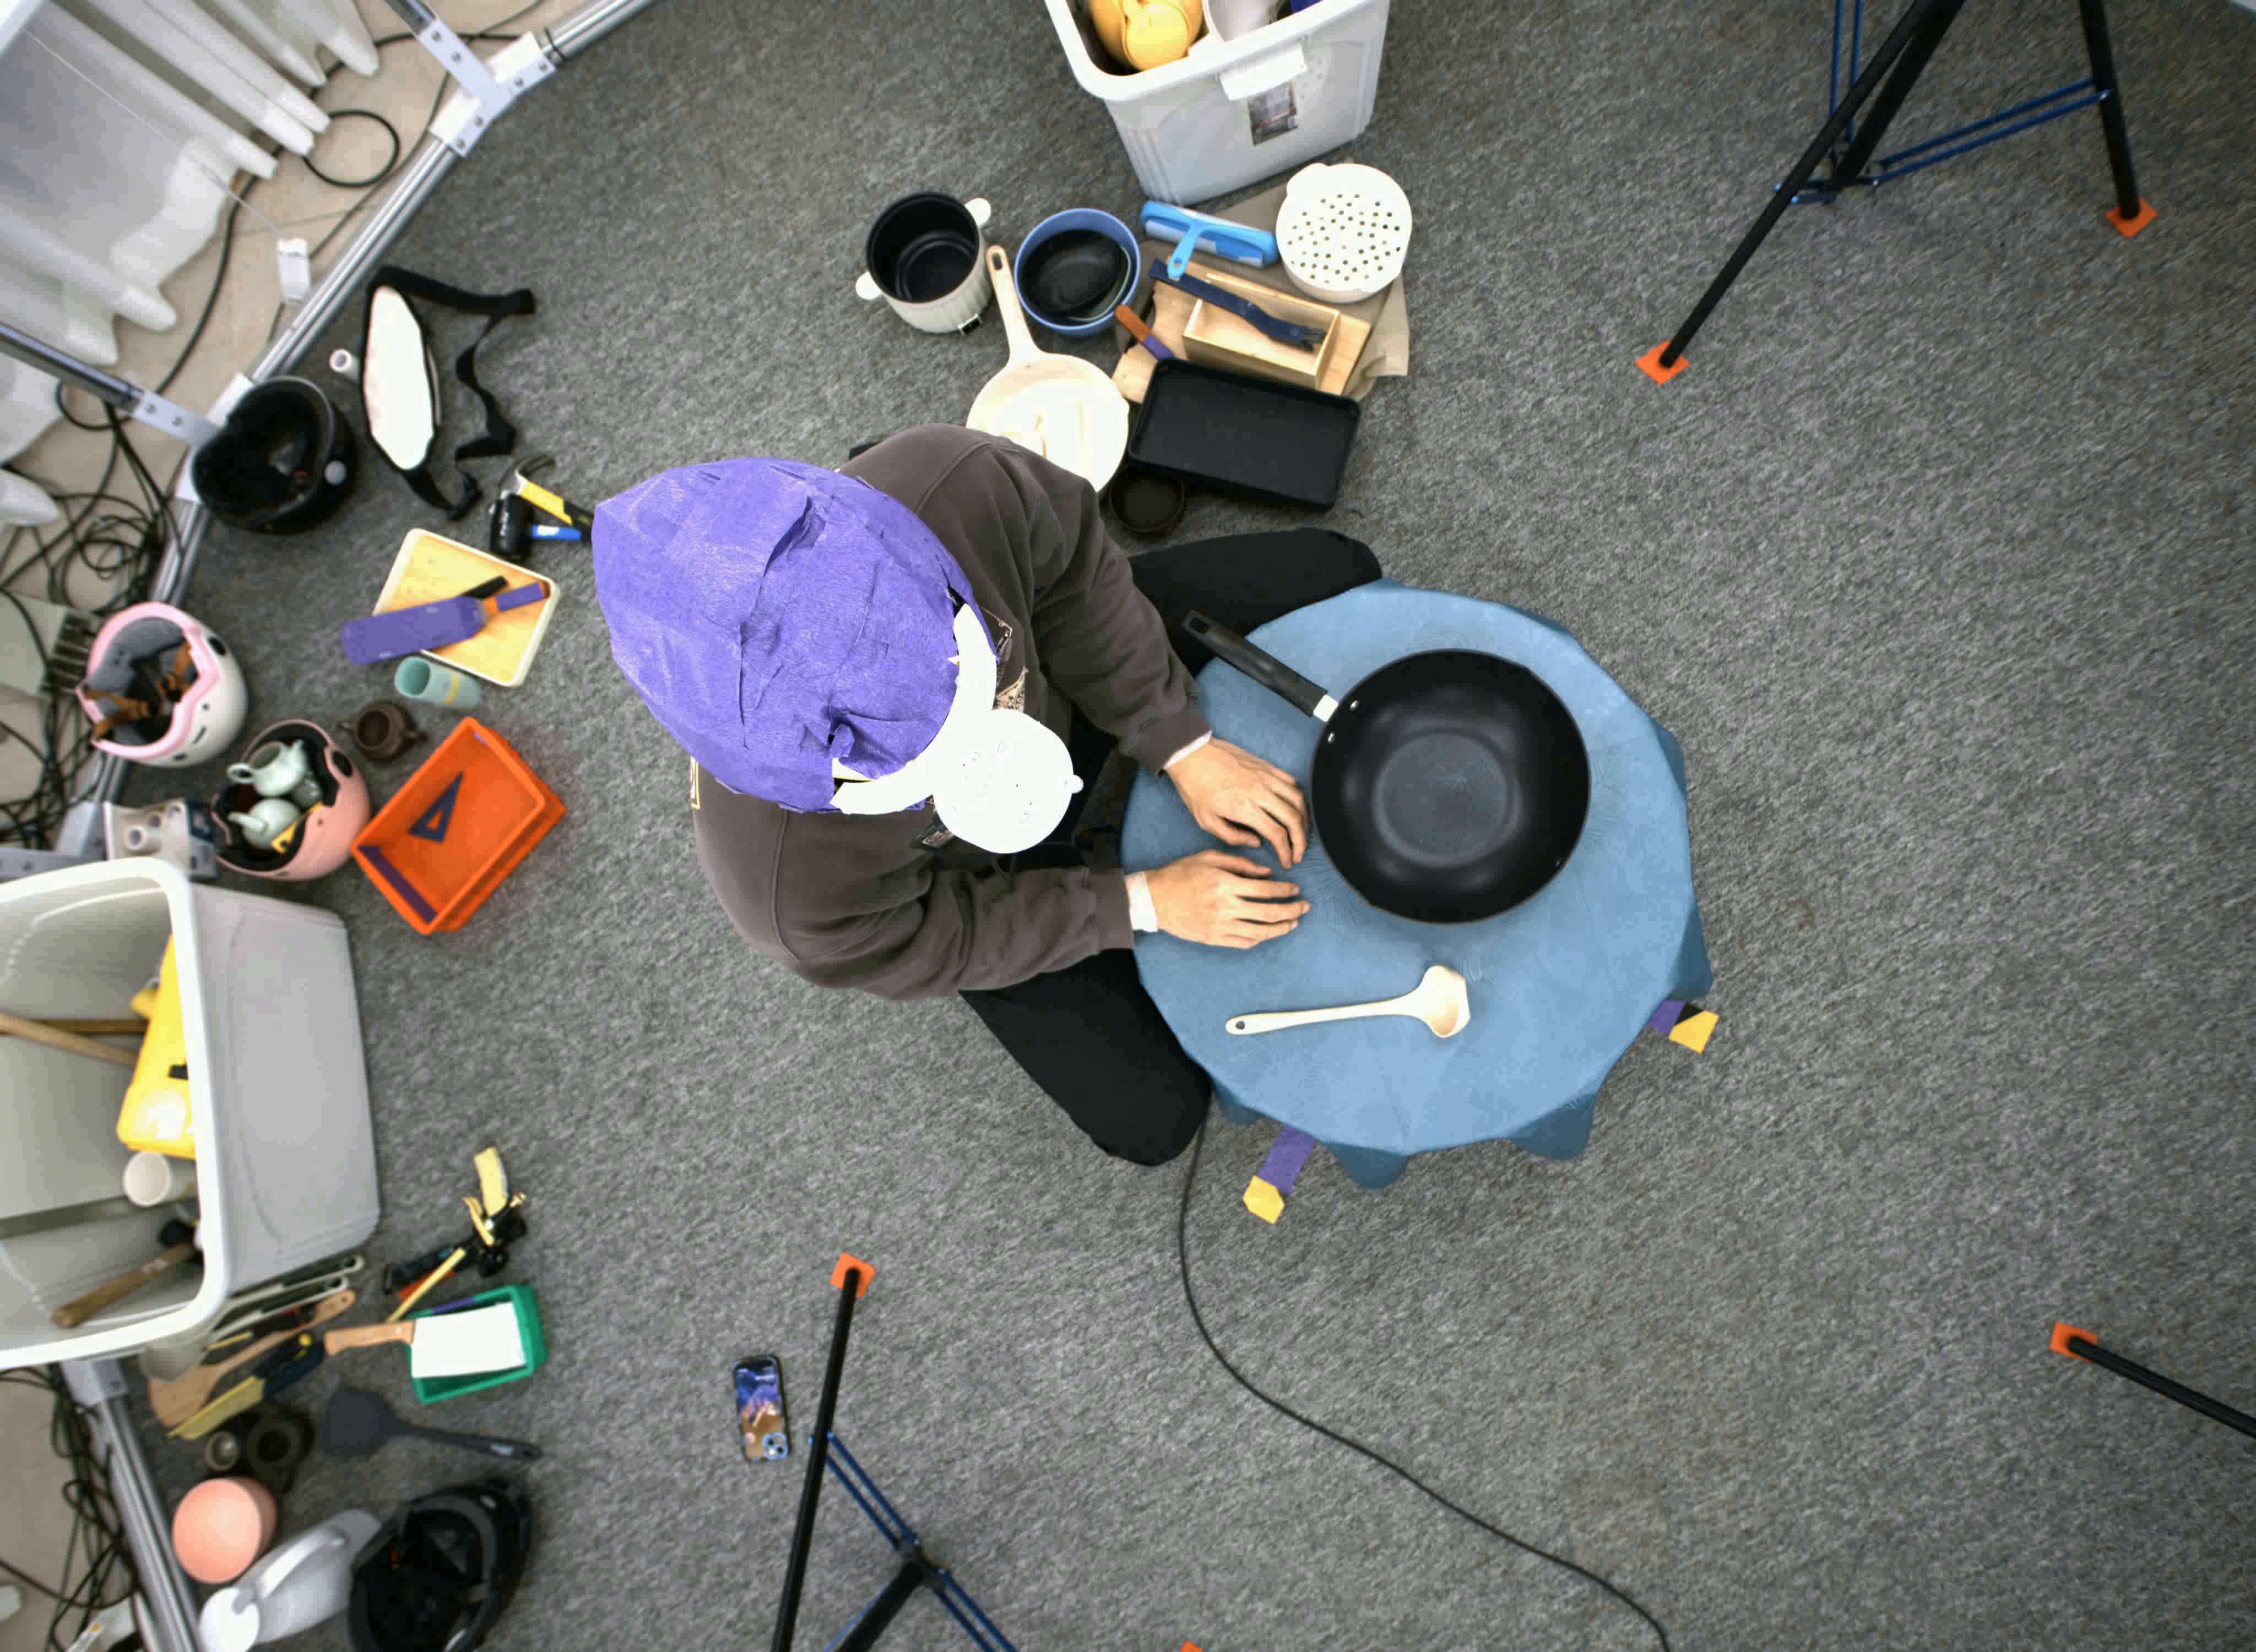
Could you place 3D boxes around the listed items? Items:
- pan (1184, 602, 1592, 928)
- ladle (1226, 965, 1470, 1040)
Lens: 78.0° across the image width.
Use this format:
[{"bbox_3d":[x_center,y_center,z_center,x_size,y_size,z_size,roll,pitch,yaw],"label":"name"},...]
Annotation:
[{"bbox_3d":[0.252,-0.087,1.427,0.462,0.087,0.289,34,94,11],"label":"pan"},{"bbox_3d":[0.223,0.195,1.424,0.256,0.072,0.072,-11,89,9],"label":"ladle"}]
